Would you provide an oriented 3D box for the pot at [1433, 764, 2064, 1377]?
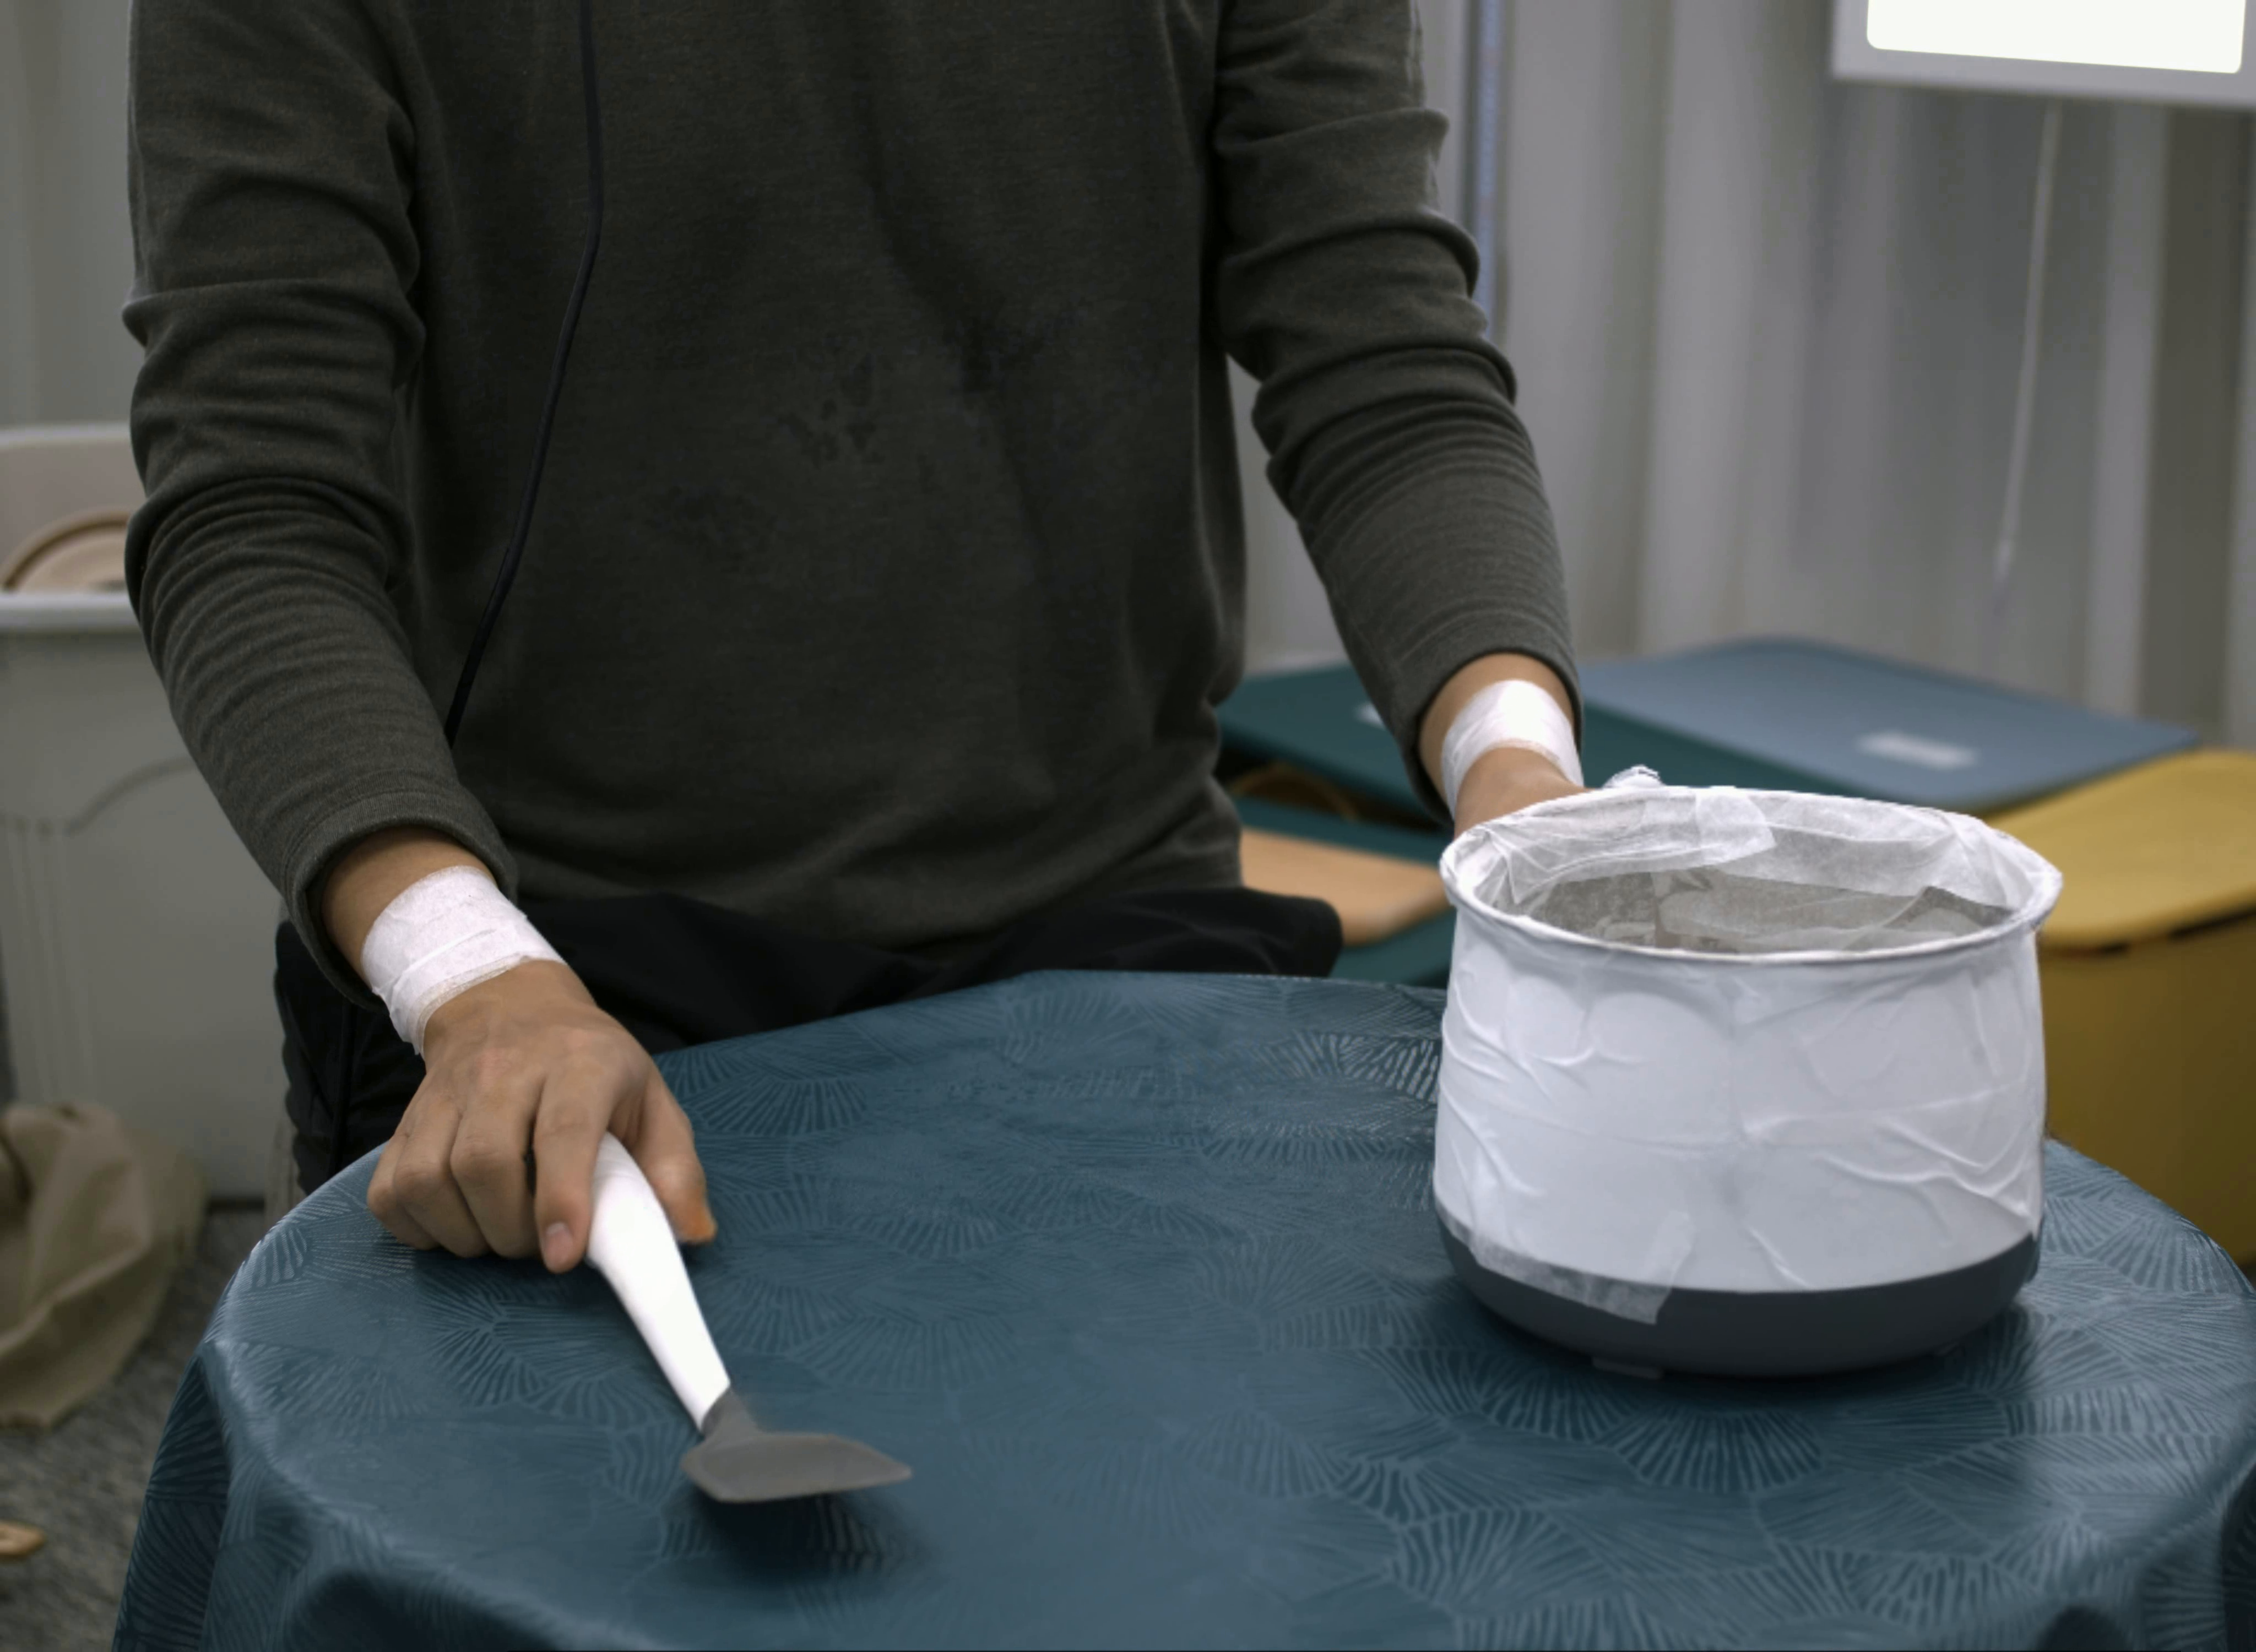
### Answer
[{"bbox_3d":[0.170,0.066,1.541,0.179,0.138,0.231,-3,16,-15],"label":"pot"}]

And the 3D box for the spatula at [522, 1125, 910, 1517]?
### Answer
[{"bbox_3d":[-0.122,0.141,1.452,0.059,0.032,0.284,-1,15,-19],"label":"spatula"}]
